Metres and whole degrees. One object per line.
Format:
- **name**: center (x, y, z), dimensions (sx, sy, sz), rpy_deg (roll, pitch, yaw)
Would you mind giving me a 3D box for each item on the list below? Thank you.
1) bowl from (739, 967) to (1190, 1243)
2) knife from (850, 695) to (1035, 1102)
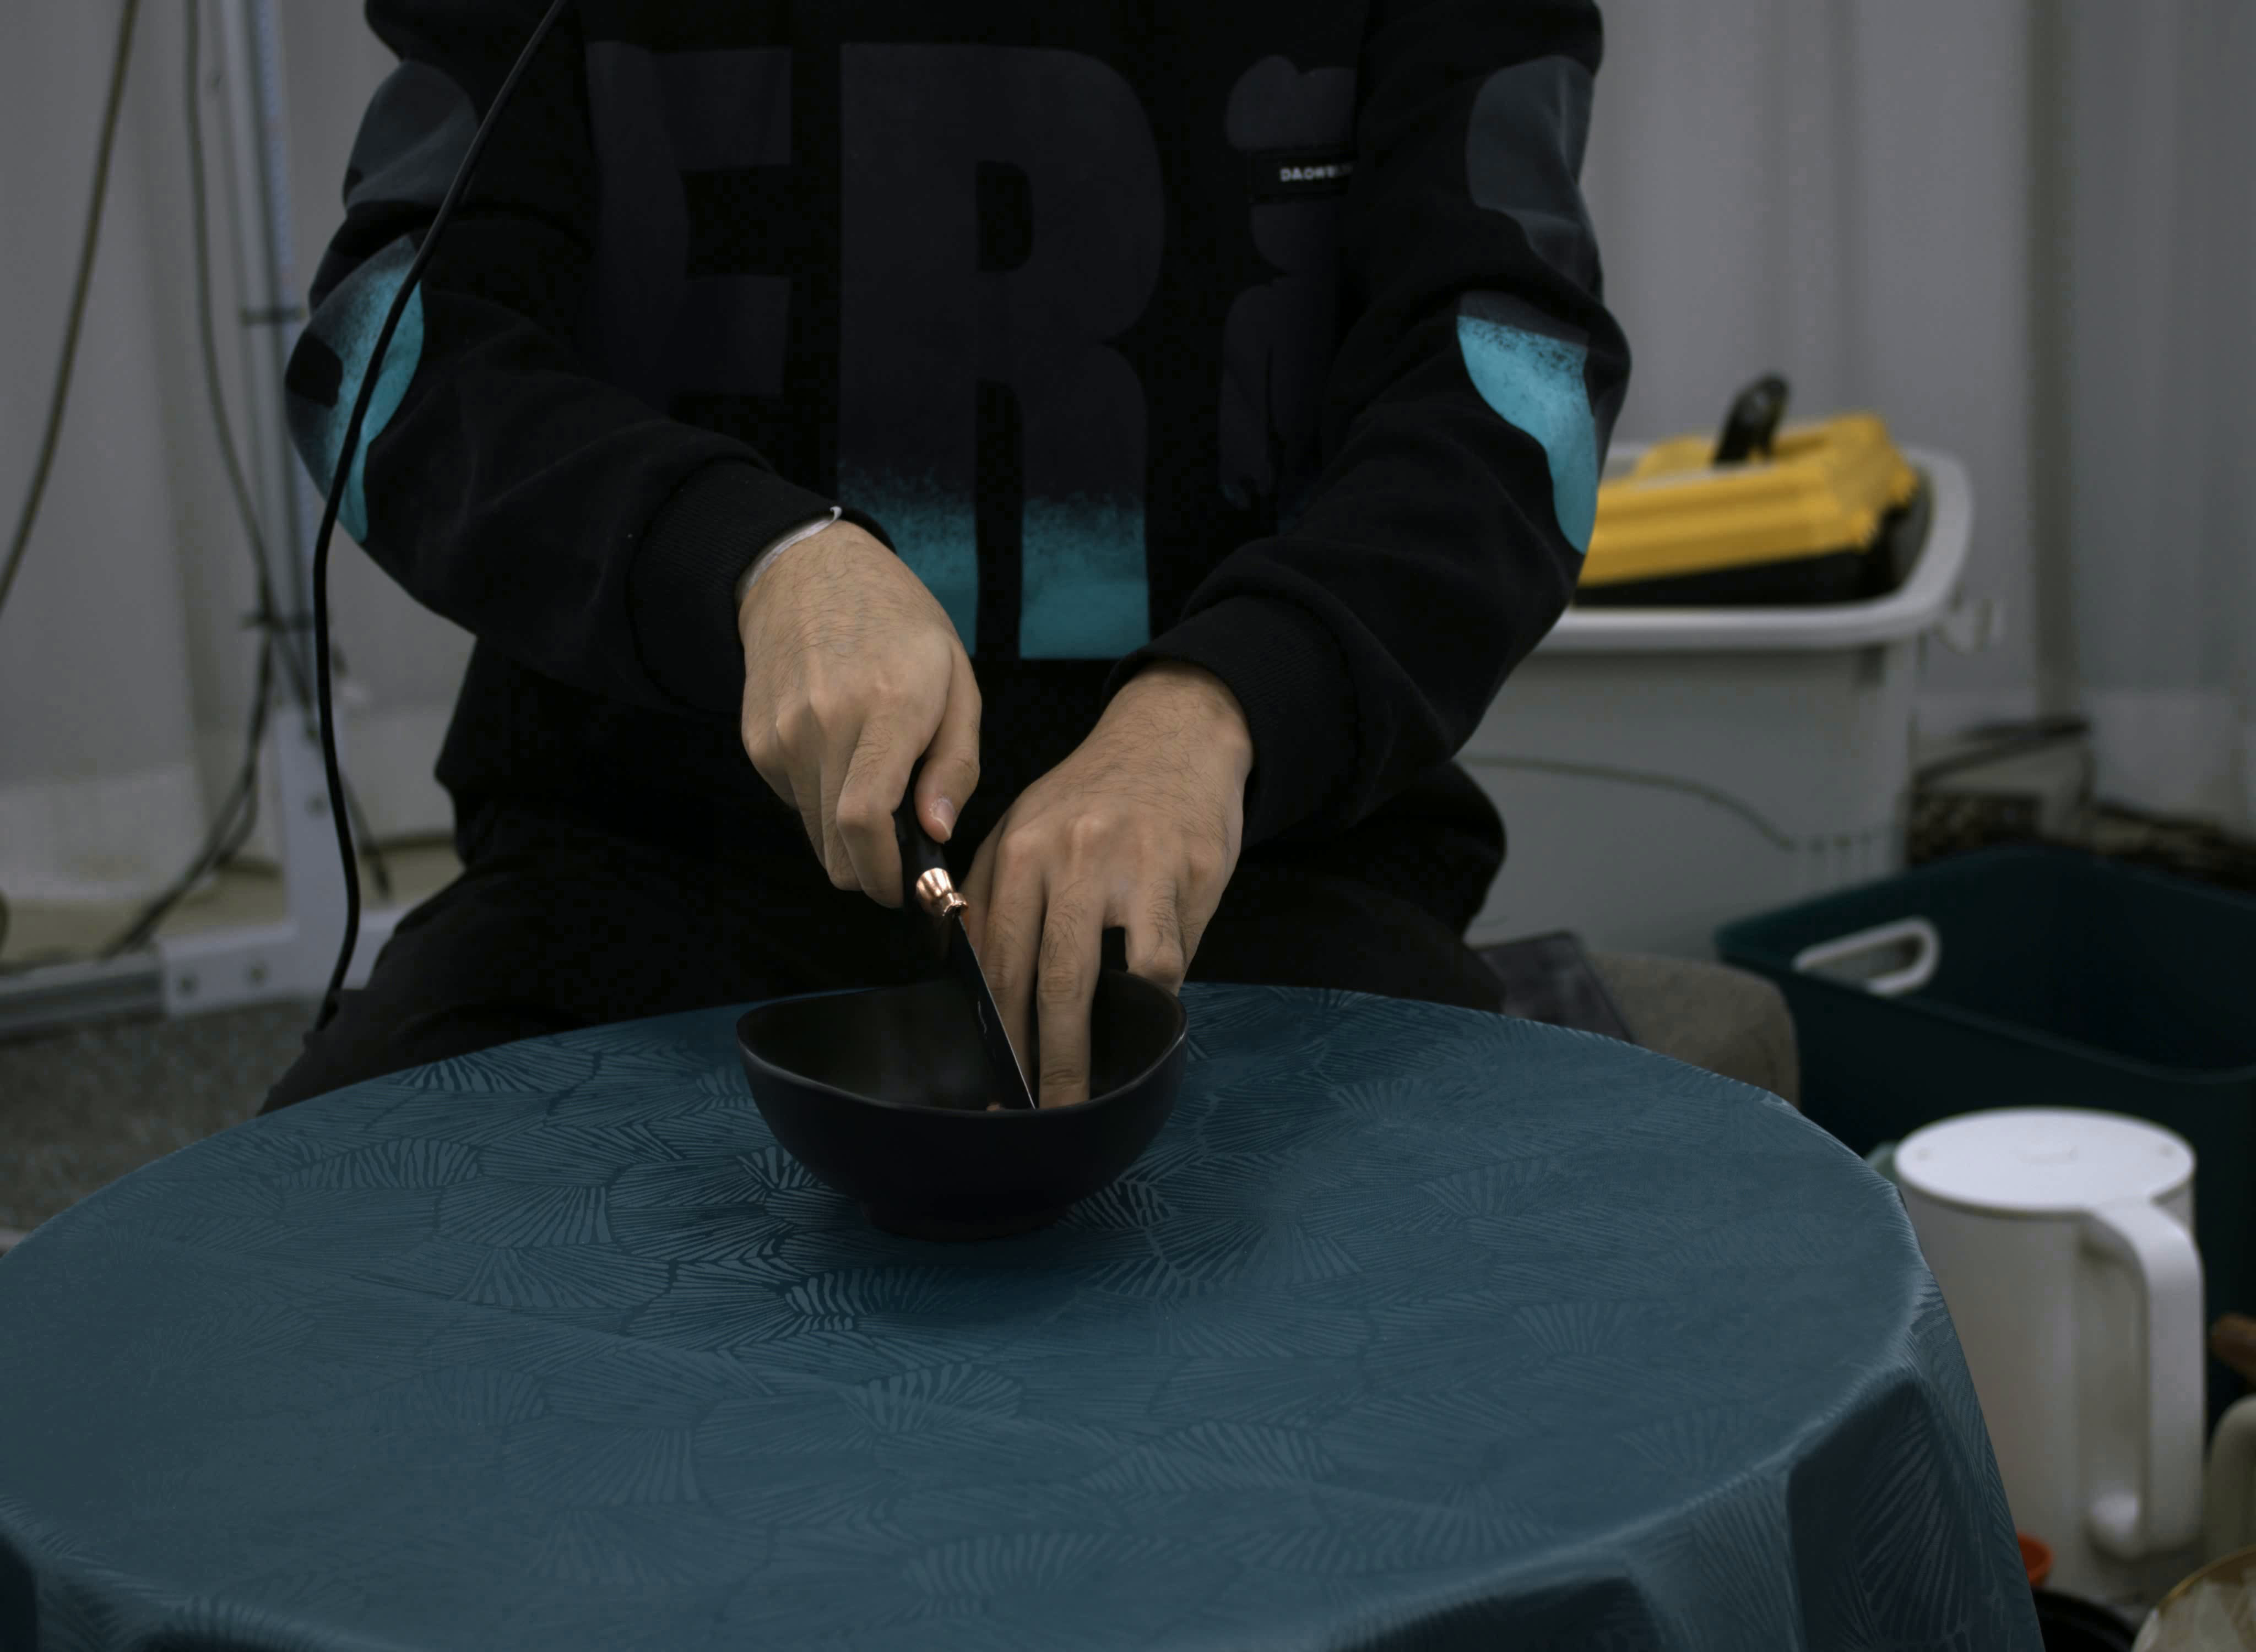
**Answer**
- **bowl**: center (-0.051, 0.089, 1.696), dimensions (0.137, 0.066, 0.171), rpy_deg (-8, 14, -20)
- **knife**: center (-0.054, 0.033, 1.730), dimensions (0.017, 0.026, 0.229), rpy_deg (-9, 43, -15)
